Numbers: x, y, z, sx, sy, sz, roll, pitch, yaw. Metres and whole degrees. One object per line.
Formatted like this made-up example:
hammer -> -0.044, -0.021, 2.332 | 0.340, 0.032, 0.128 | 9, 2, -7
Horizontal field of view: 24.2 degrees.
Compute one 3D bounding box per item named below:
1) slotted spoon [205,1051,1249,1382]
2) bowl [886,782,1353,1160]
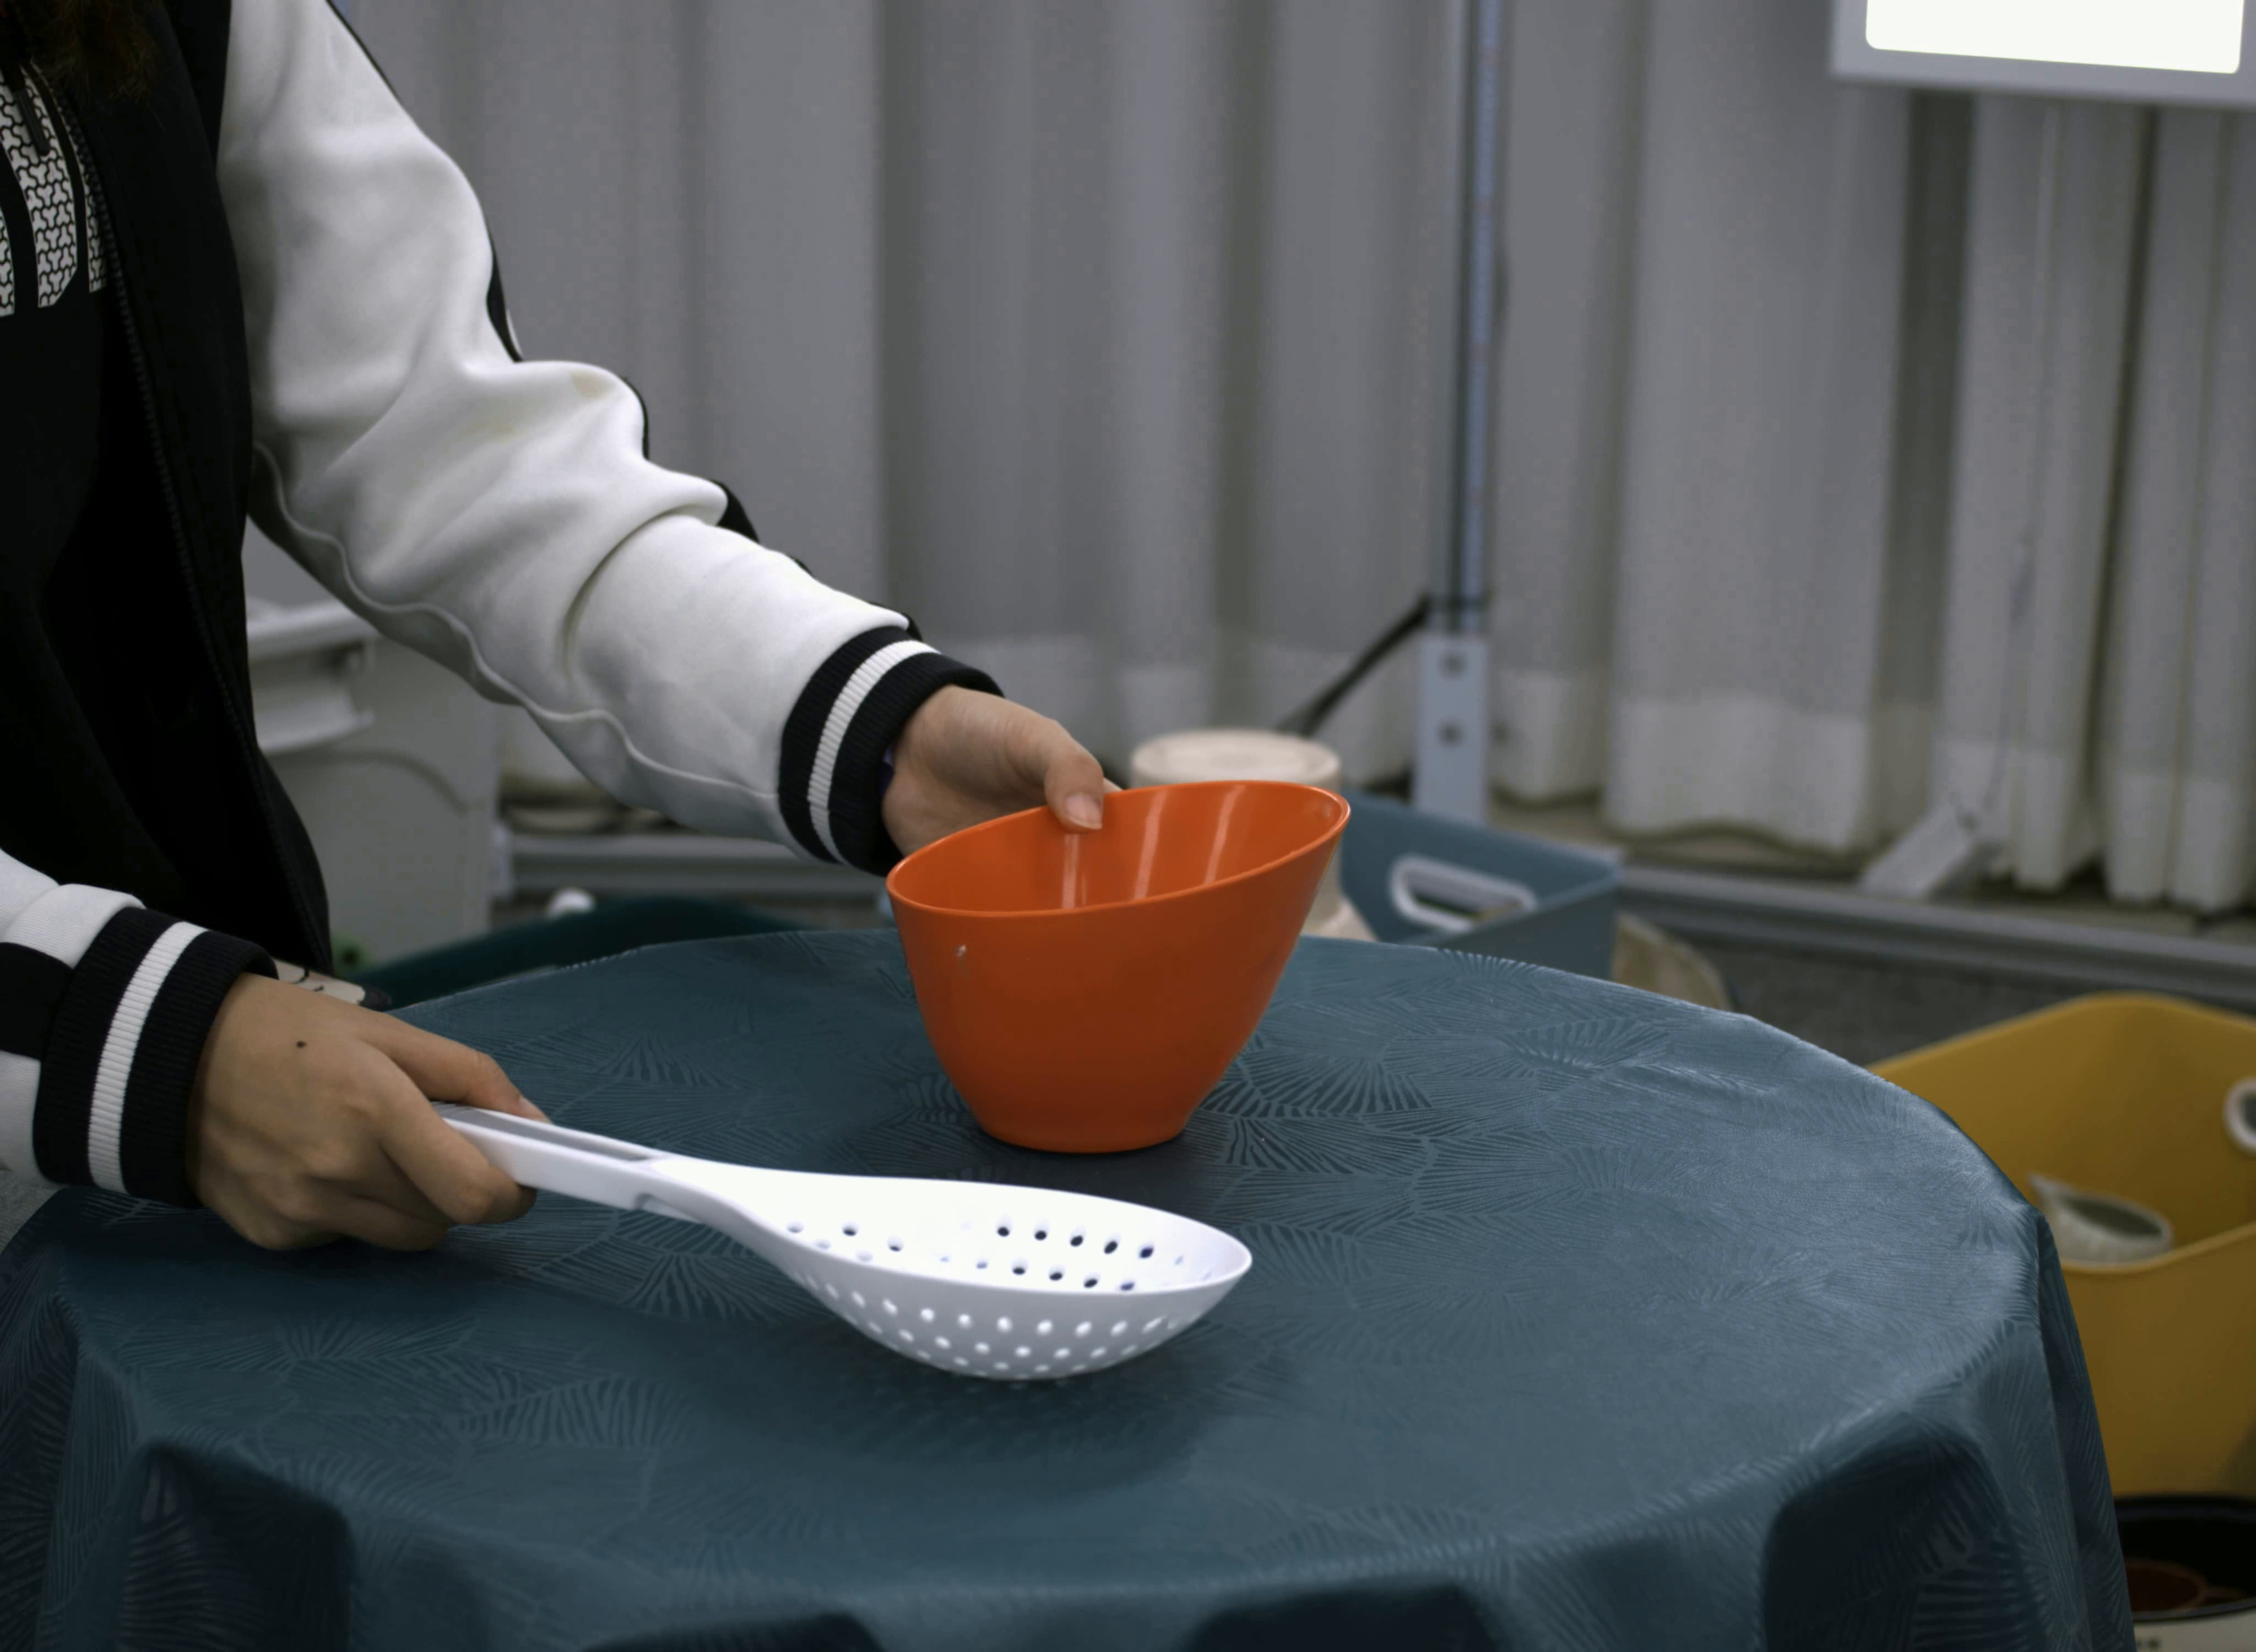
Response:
slotted spoon -> -0.126, 0.104, 1.516 | 0.345, 0.046, 0.137 | 16, 11, 28
bowl -> -0.003, 0.047, 1.666 | 0.147, 0.105, 0.147 | 0, 16, 0
